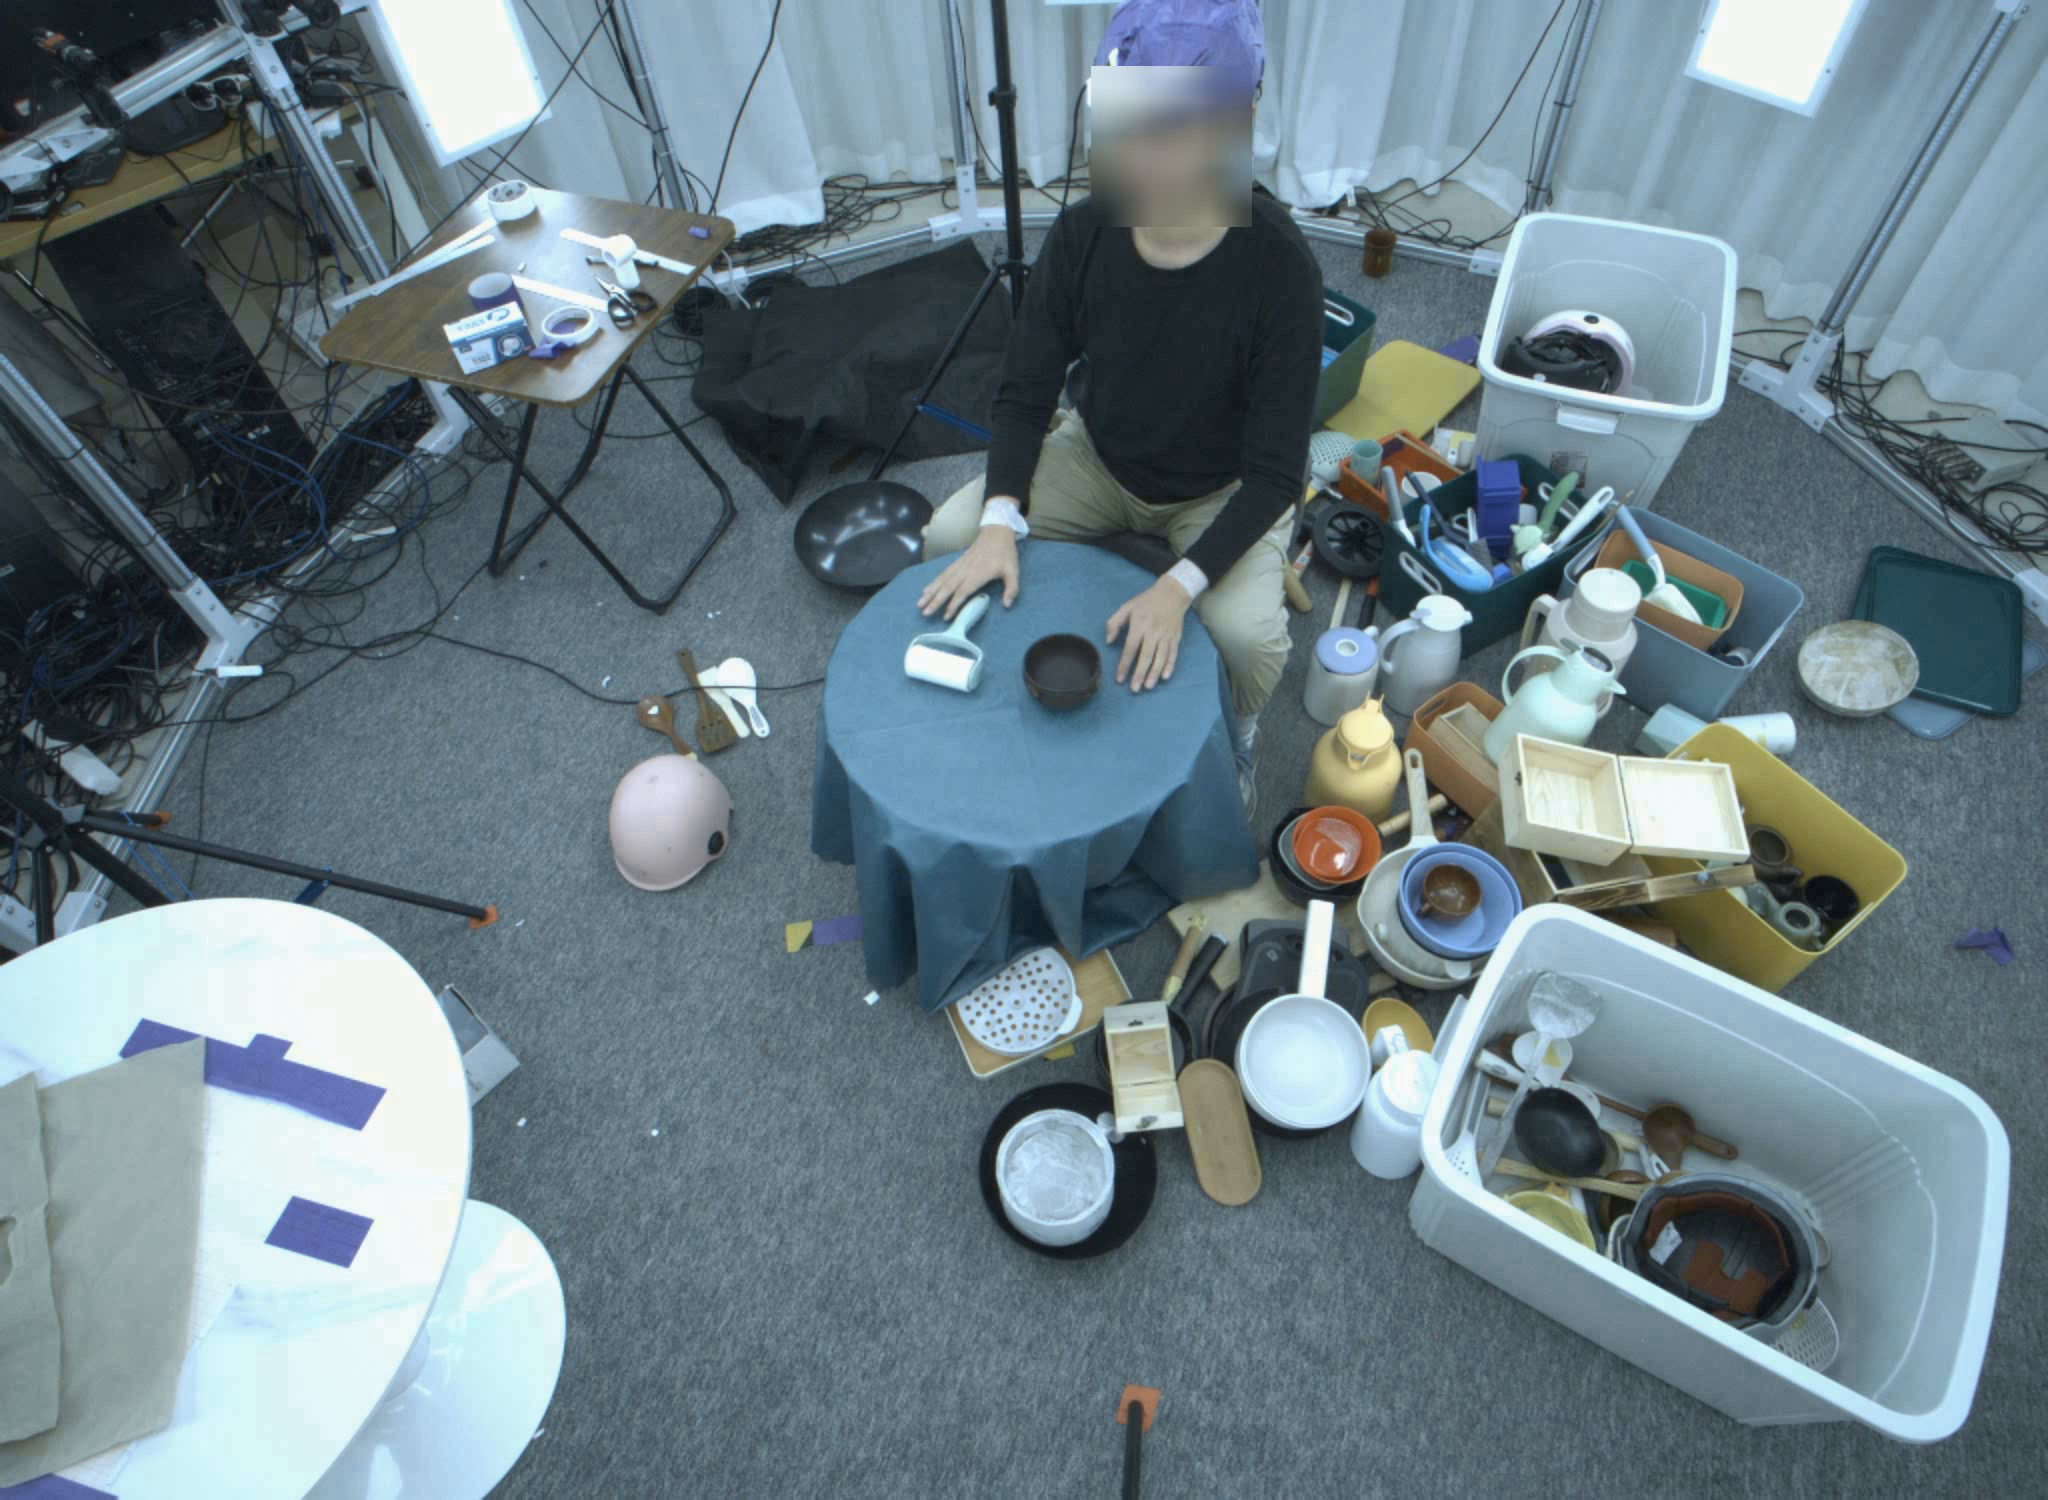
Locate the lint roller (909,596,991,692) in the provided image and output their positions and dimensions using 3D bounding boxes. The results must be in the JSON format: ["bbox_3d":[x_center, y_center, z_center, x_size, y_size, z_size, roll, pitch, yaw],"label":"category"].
[{"bbox_3d":[-0.091,-0.176,1.888,0.115,0.049,0.197,15,55,14],"label":"lint roller"}]

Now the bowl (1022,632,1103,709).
[{"bbox_3d":[0.058,-0.109,1.819,0.118,0.070,0.117,-1,54,3],"label":"bowl"}]
